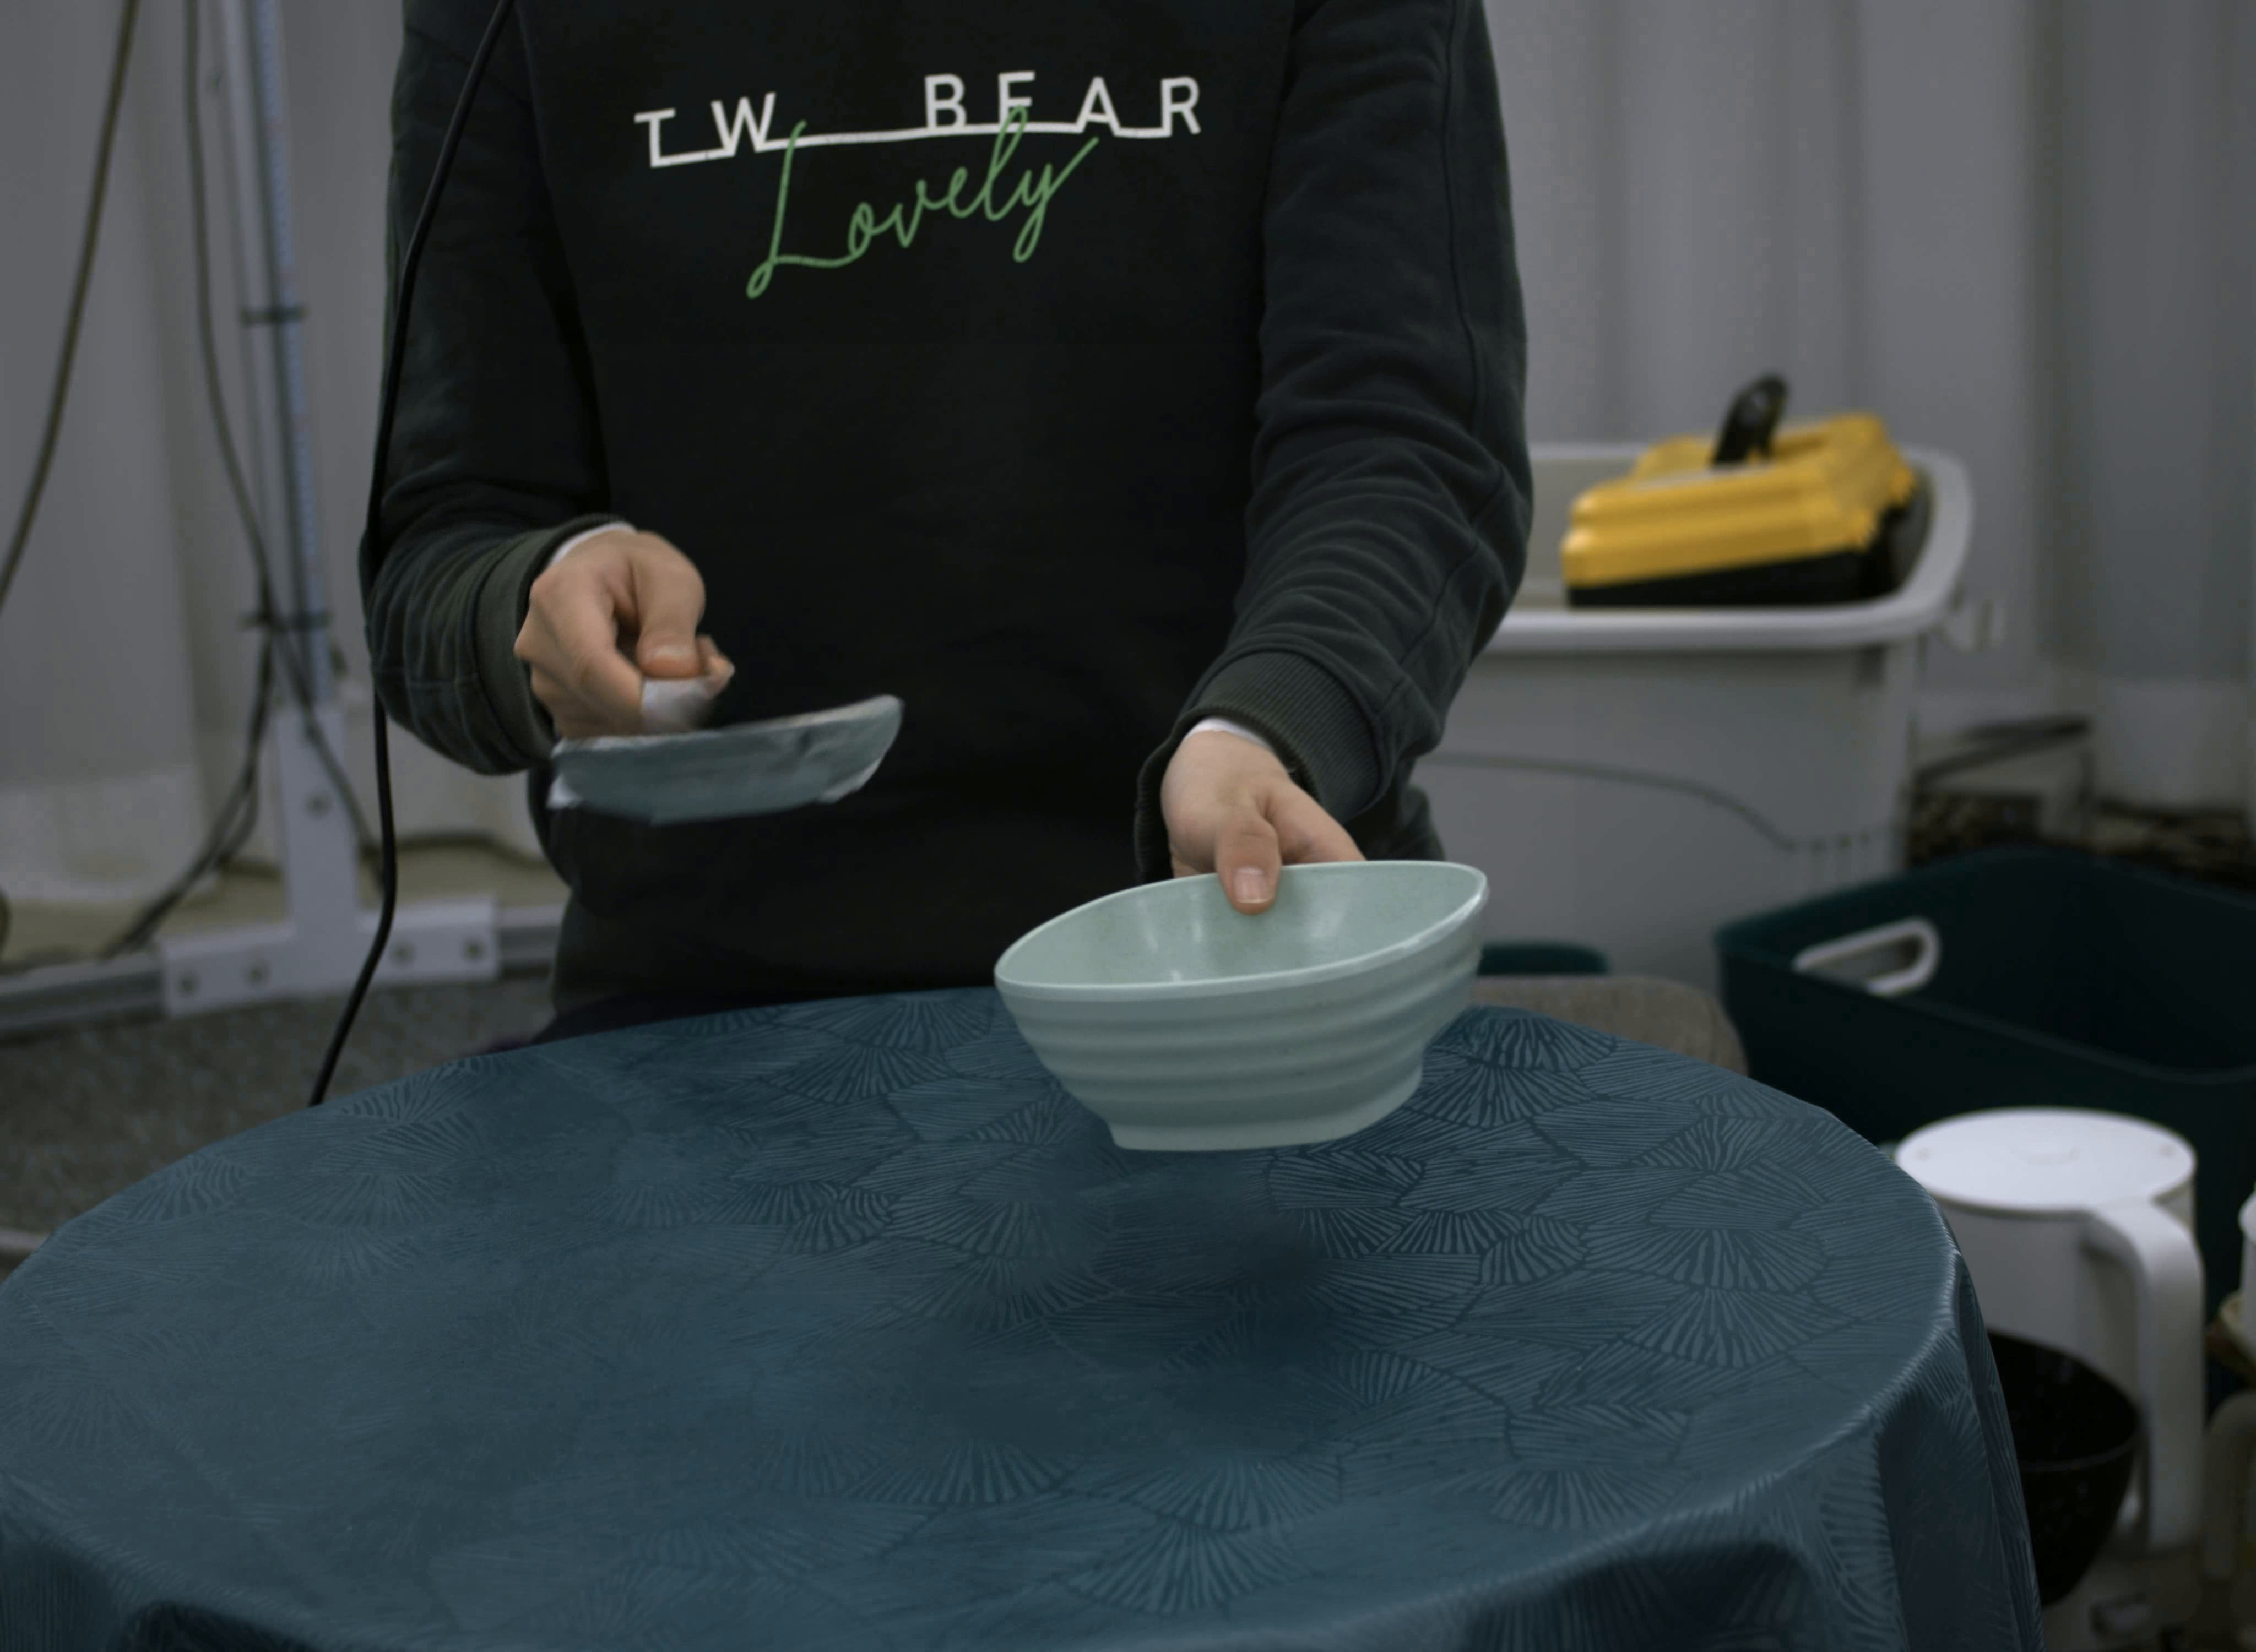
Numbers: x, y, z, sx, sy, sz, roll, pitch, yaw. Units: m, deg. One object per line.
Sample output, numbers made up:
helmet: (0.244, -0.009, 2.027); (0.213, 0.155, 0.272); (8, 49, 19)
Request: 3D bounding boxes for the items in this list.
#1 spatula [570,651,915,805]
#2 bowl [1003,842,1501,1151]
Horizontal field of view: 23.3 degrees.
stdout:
spatula: (-0.127, -0.042, 1.680); (0.098, 0.044, 0.367); (-9, 10, -7)
bowl: (0.040, 0.053, 1.595); (0.151, 0.058, 0.152); (-8, 16, 2)
